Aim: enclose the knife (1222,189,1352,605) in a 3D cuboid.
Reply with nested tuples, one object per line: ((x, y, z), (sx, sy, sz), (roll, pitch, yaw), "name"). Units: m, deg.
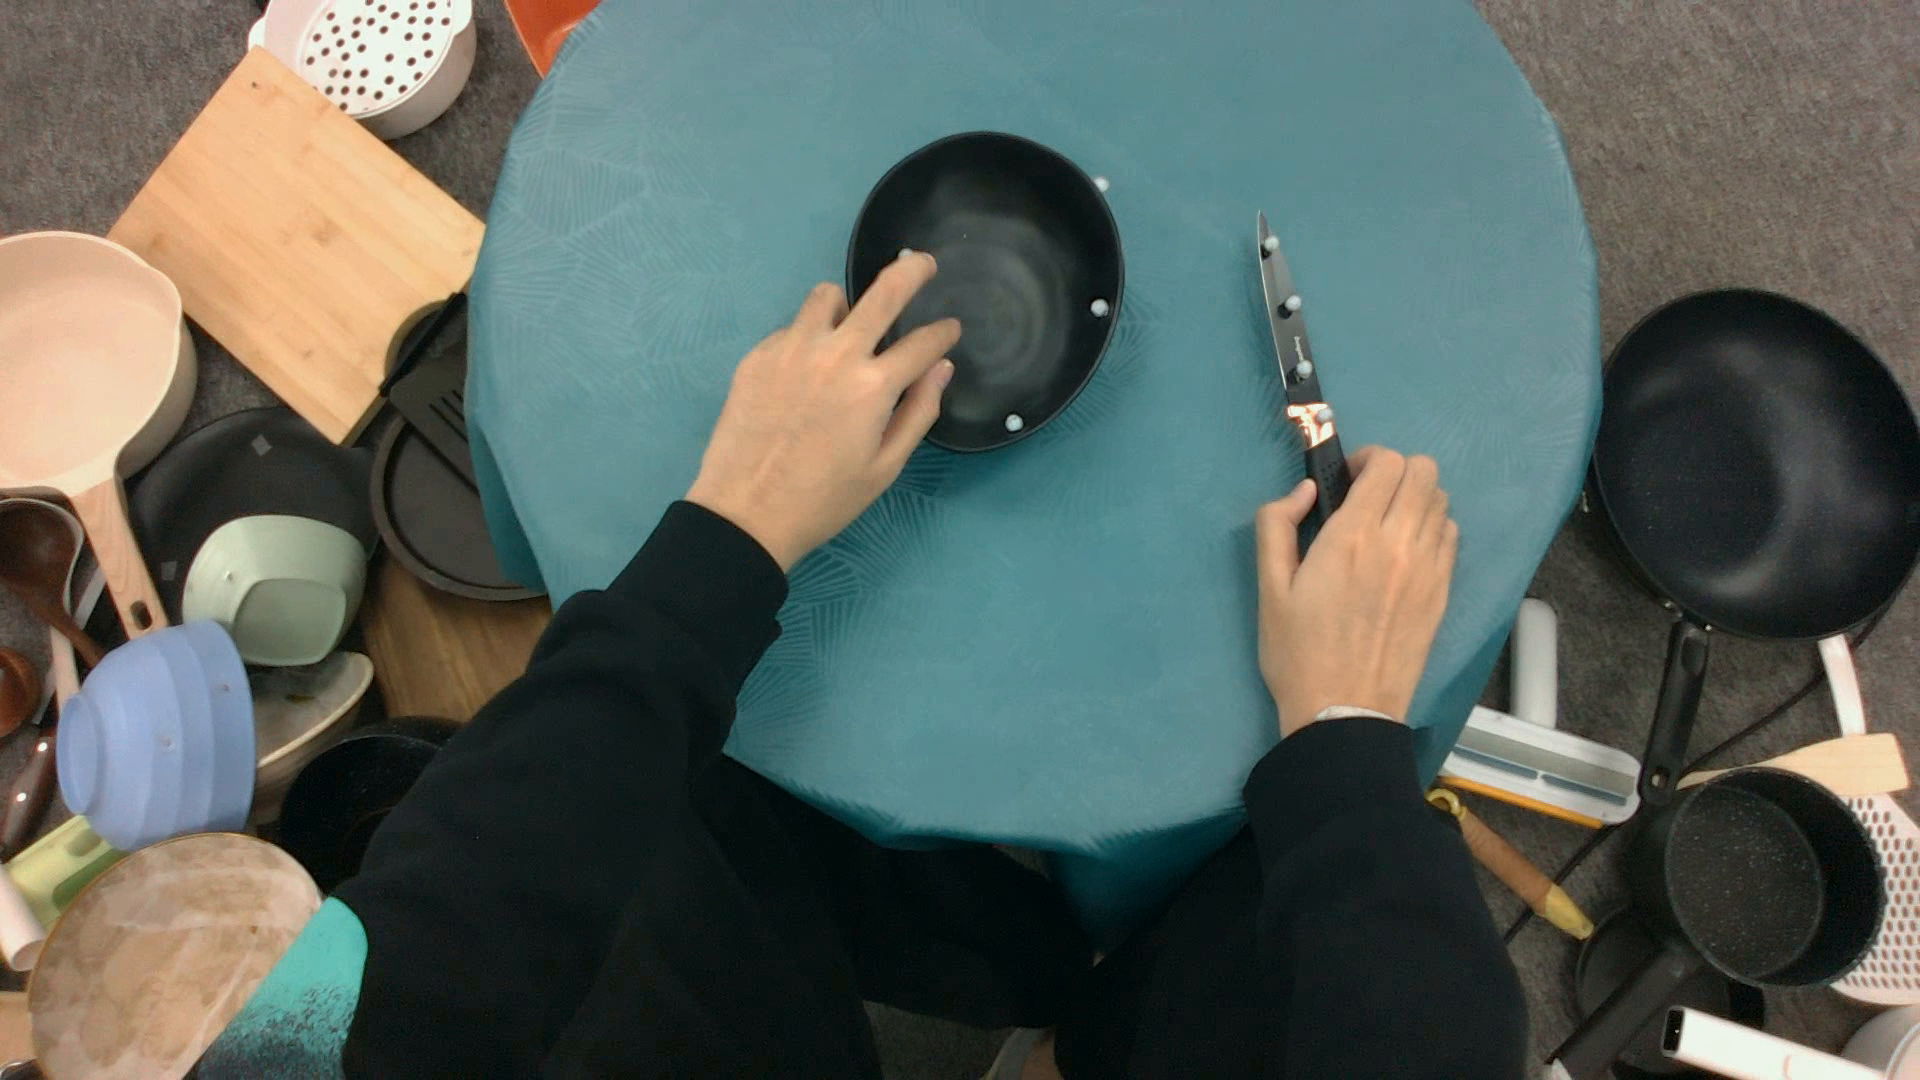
((0.165, -0.076, 0.701), (0.026, 0.017, 0.226), (-2, 75, -34), "knife")

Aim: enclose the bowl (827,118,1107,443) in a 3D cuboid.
((0.003, -0.126, 0.700), (0.137, 0.066, 0.170), (3, 76, 1), "bowl")
